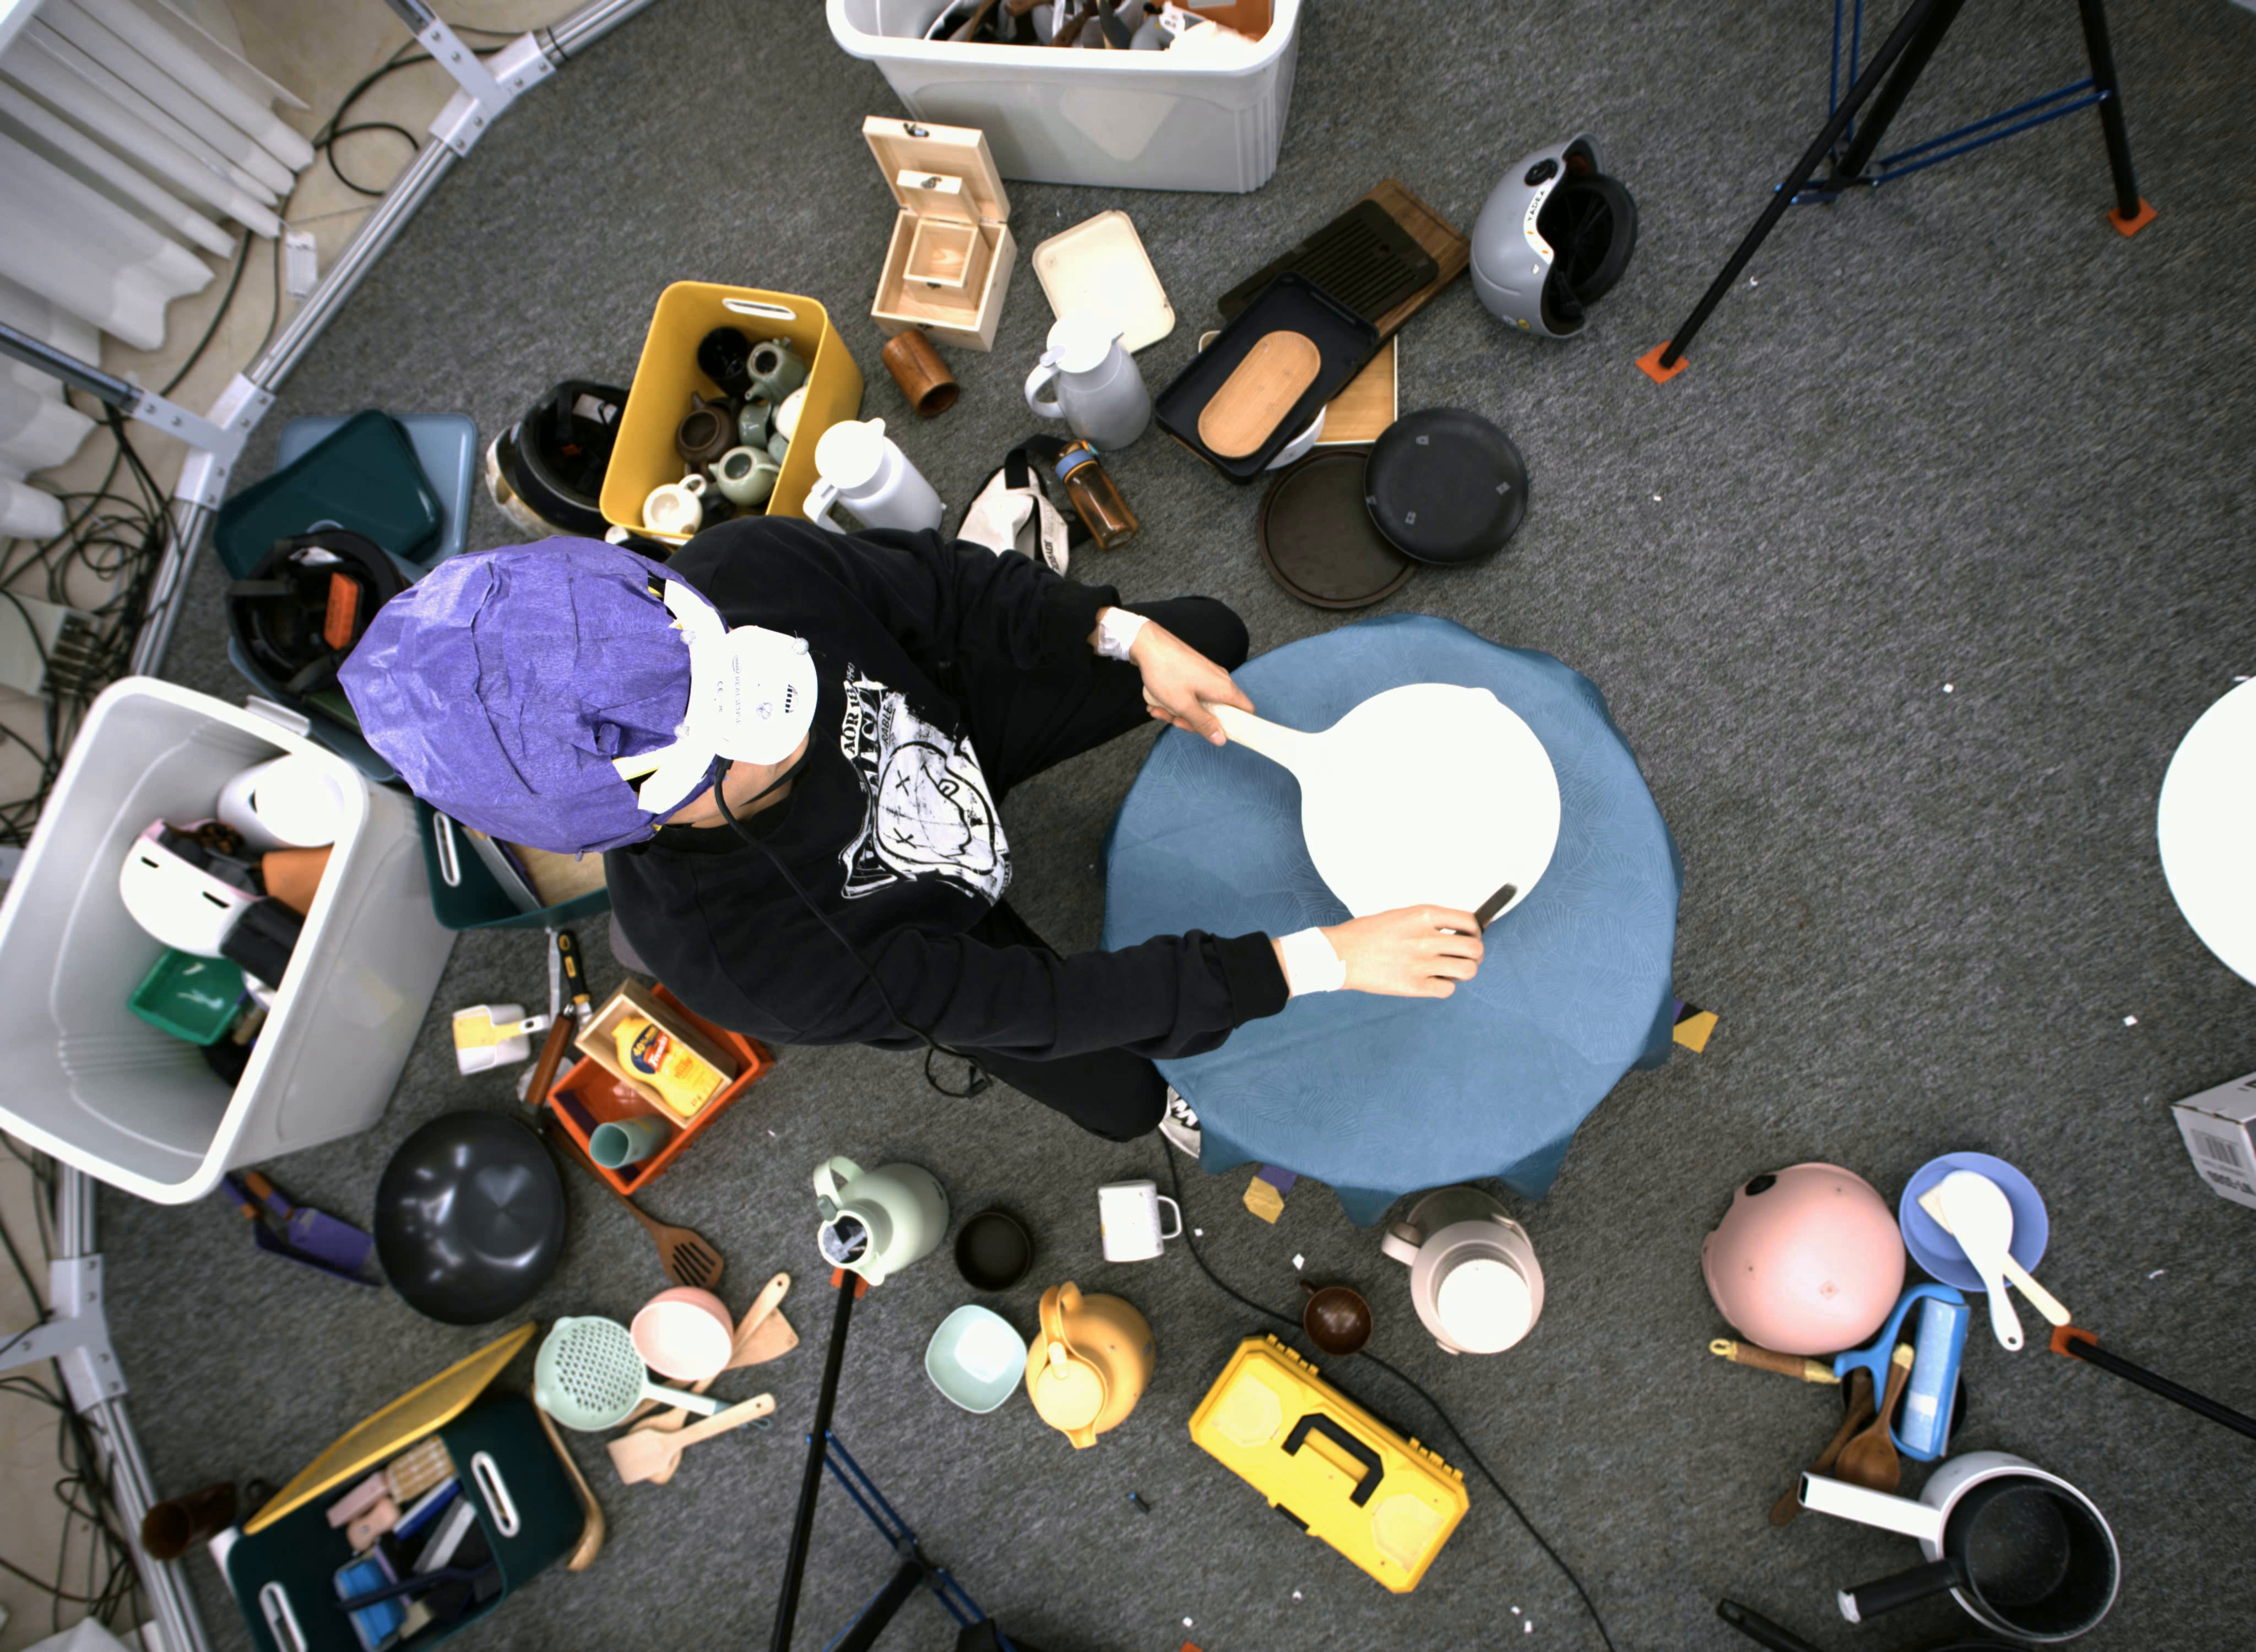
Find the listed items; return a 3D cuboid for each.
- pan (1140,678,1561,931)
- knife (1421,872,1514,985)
[{"bbox_3d":[0.222,-0.061,1.403,0.435,0.100,0.267,24,105,8],"label":"pan"},{"bbox_3d":[0.333,0.092,1.322,0.026,0.221,0.017,-6,111,41],"label":"knife"}]
